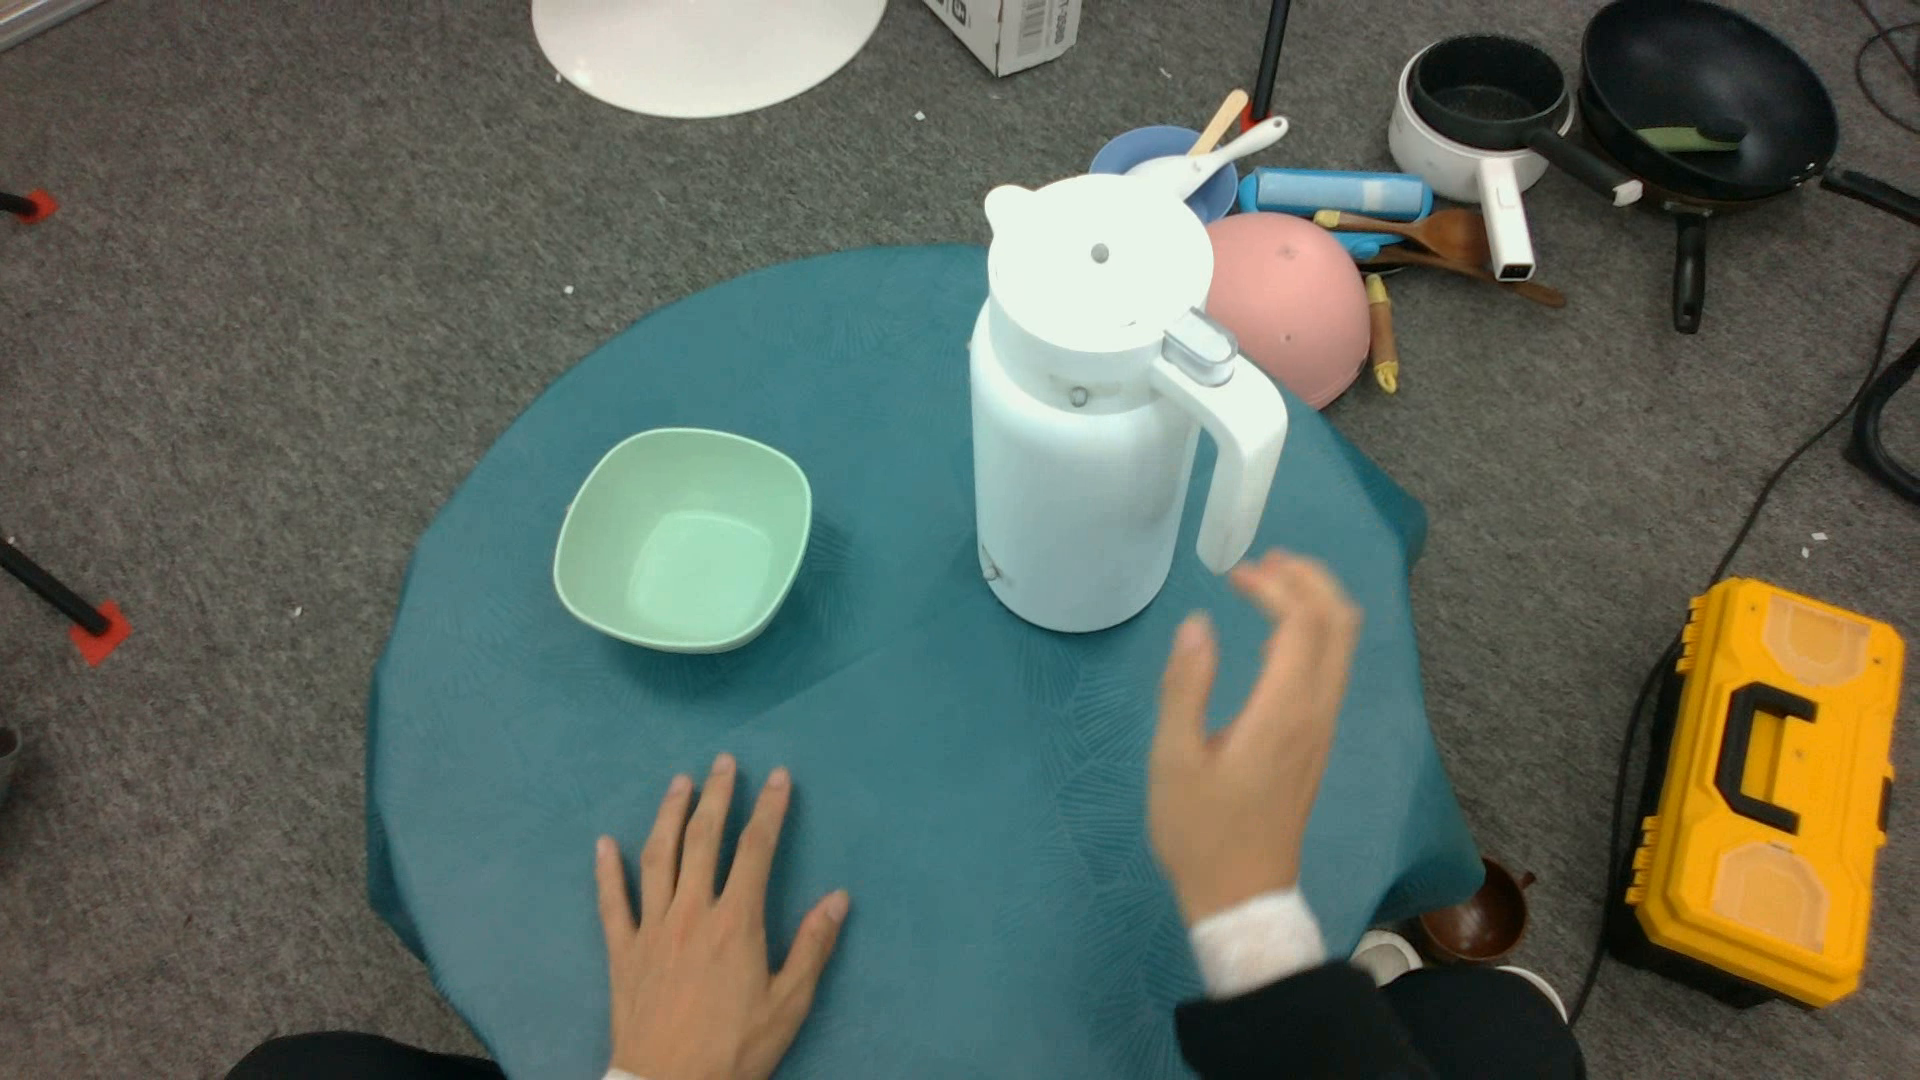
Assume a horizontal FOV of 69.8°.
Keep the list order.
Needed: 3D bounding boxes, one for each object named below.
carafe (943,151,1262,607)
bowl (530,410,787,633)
[{"bbox_3d":[0.066,-0.062,0.709,0.173,0.267,0.124,40,67,20],"label":"carafe"},{"bbox_3d":[-0.169,-0.002,0.799,0.151,0.058,0.152,0,61,1],"label":"bowl"}]
